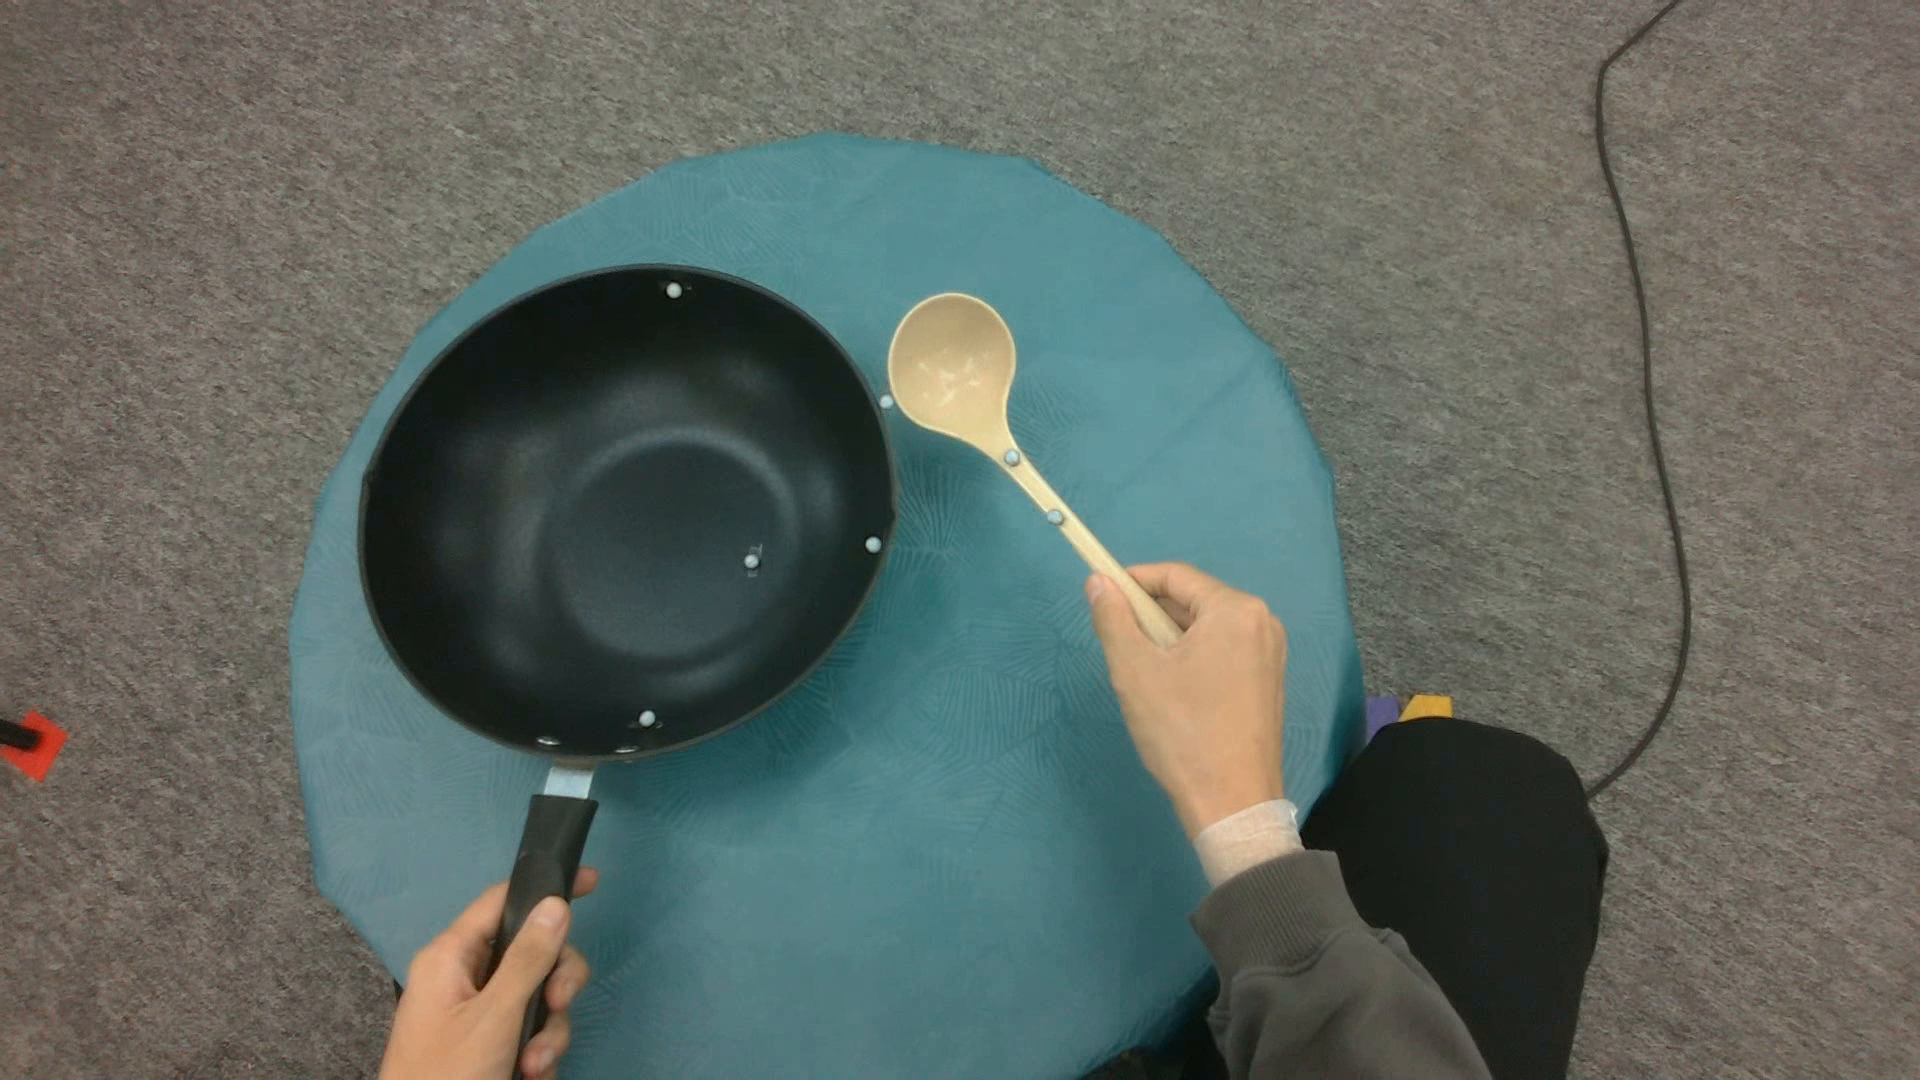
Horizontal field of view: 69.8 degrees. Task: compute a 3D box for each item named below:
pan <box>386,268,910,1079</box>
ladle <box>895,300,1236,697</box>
[{"bbox_3d":[-0.177,0.077,0.739,0.288,0.086,0.464,5,71,7],"label":"pan"},{"bbox_3d":[0.053,-0.028,0.689,0.072,0.072,0.255,-32,56,-13],"label":"ladle"}]
